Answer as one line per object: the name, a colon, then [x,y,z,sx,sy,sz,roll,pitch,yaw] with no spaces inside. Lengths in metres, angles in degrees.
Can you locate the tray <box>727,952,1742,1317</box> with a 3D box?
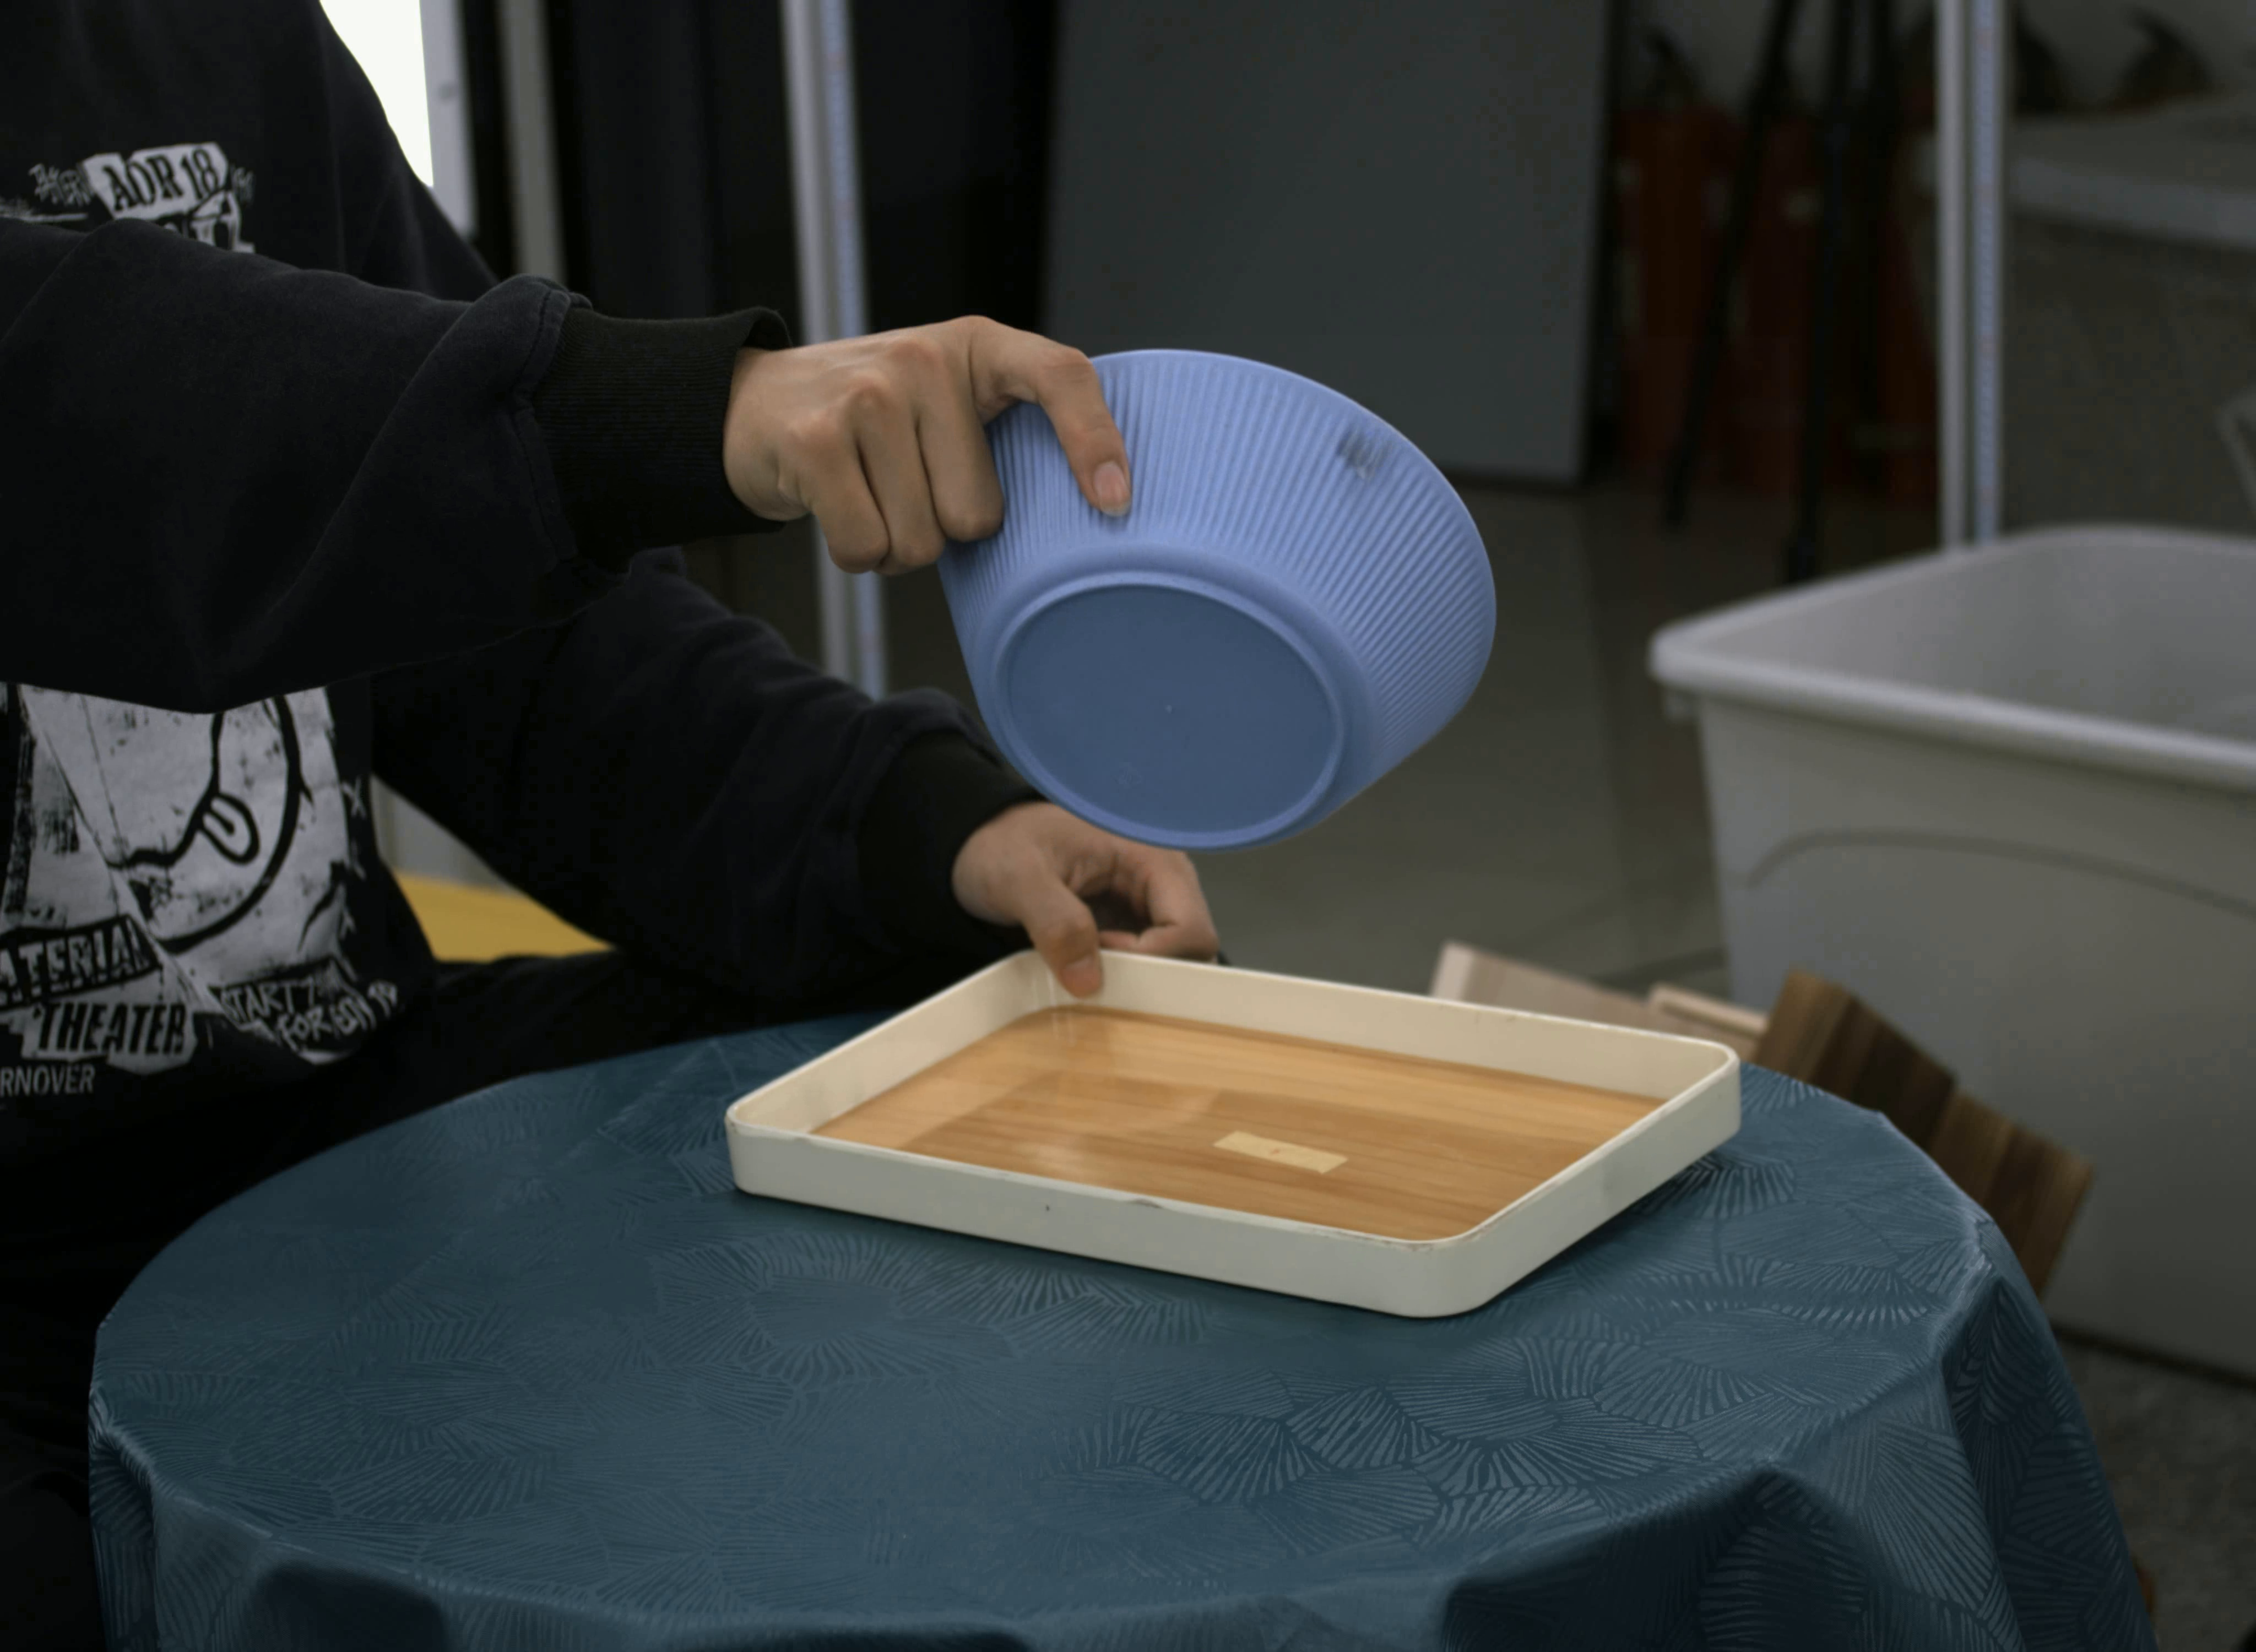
tray: [0.034,0.098,1.775,0.302,0.027,0.188,7,22,37]

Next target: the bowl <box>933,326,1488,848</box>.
bowl: [0.018,-0.058,1.619,0.175,0.176,0.070,1,40,18]
